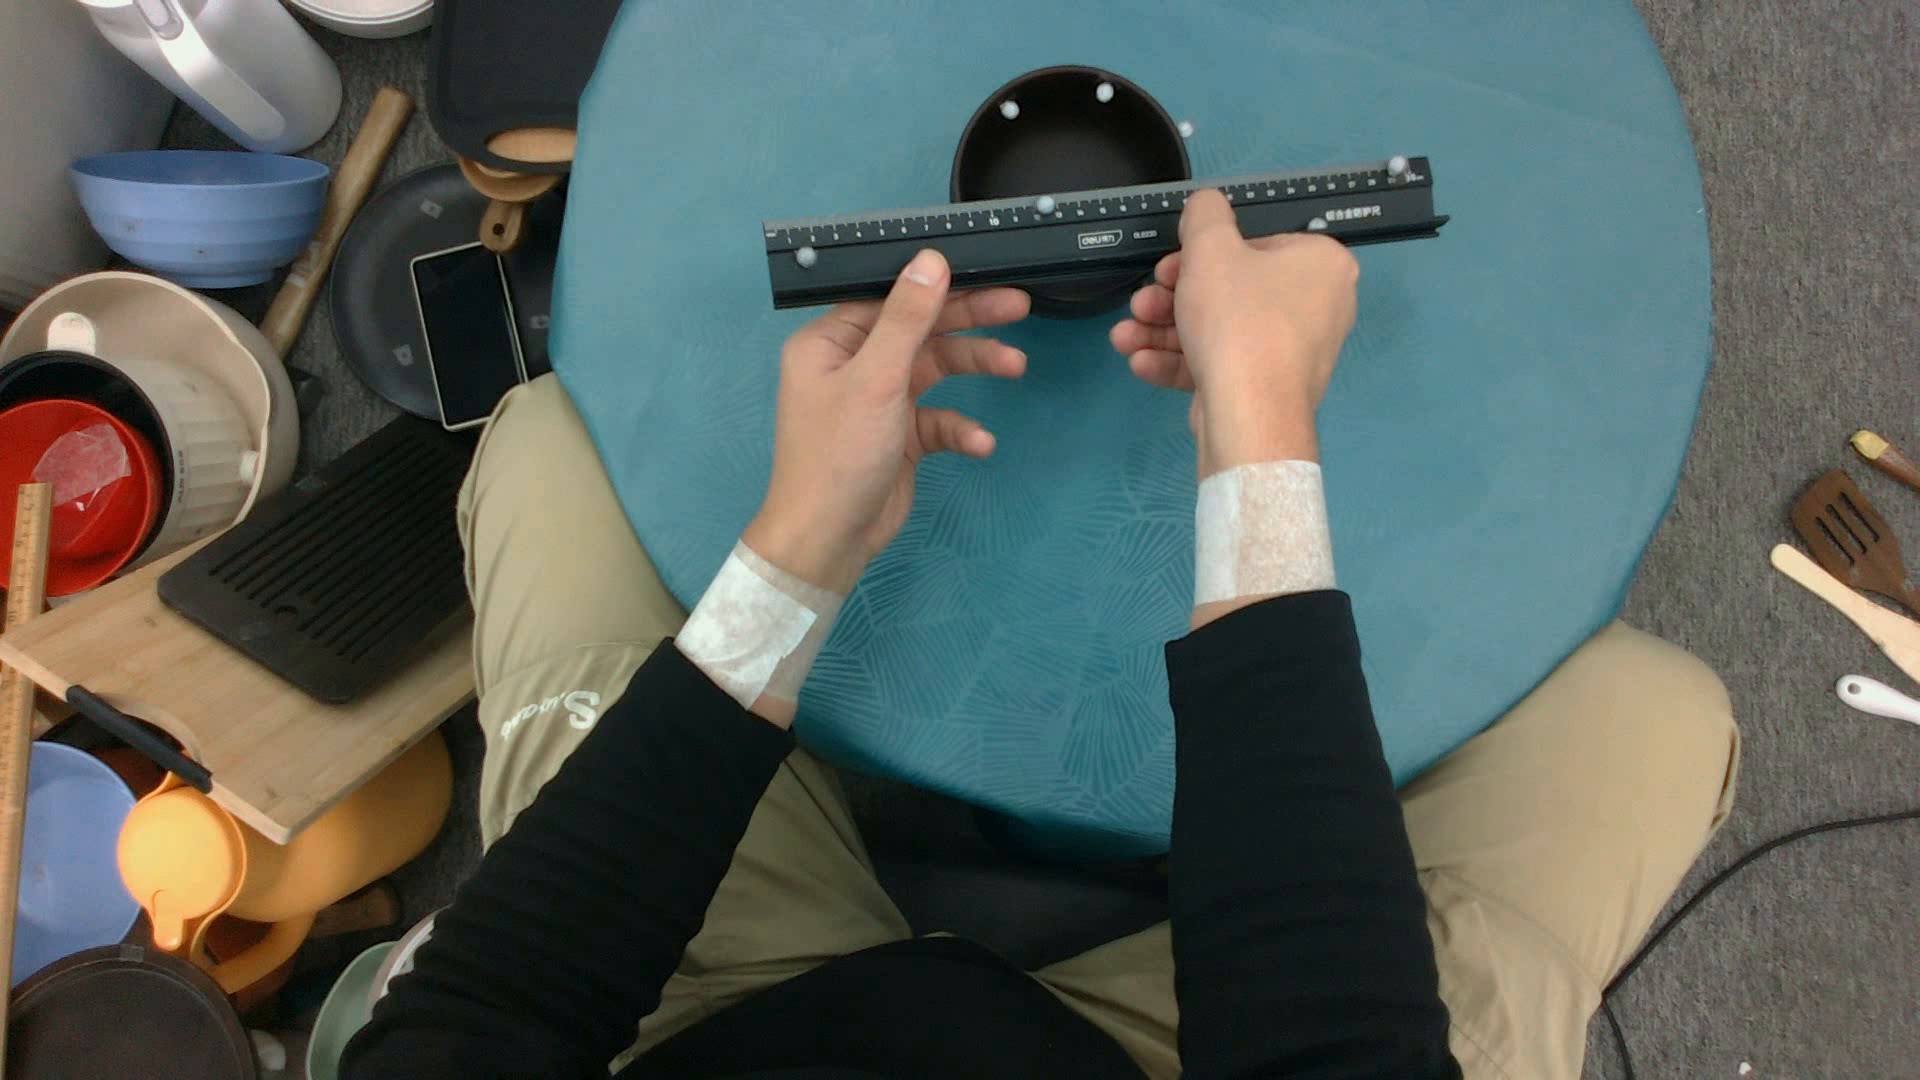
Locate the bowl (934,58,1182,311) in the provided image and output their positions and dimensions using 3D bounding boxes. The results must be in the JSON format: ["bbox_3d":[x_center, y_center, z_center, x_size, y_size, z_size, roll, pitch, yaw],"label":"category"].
[{"bbox_3d":[0.046,-0.167,0.677,0.118,0.069,0.118,1,78,-2],"label":"bowl"}]

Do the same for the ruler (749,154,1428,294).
[{"bbox_3d":[0.064,-0.145,0.614,0.313,0.017,0.039,-8,89,-12],"label":"ruler"}]
